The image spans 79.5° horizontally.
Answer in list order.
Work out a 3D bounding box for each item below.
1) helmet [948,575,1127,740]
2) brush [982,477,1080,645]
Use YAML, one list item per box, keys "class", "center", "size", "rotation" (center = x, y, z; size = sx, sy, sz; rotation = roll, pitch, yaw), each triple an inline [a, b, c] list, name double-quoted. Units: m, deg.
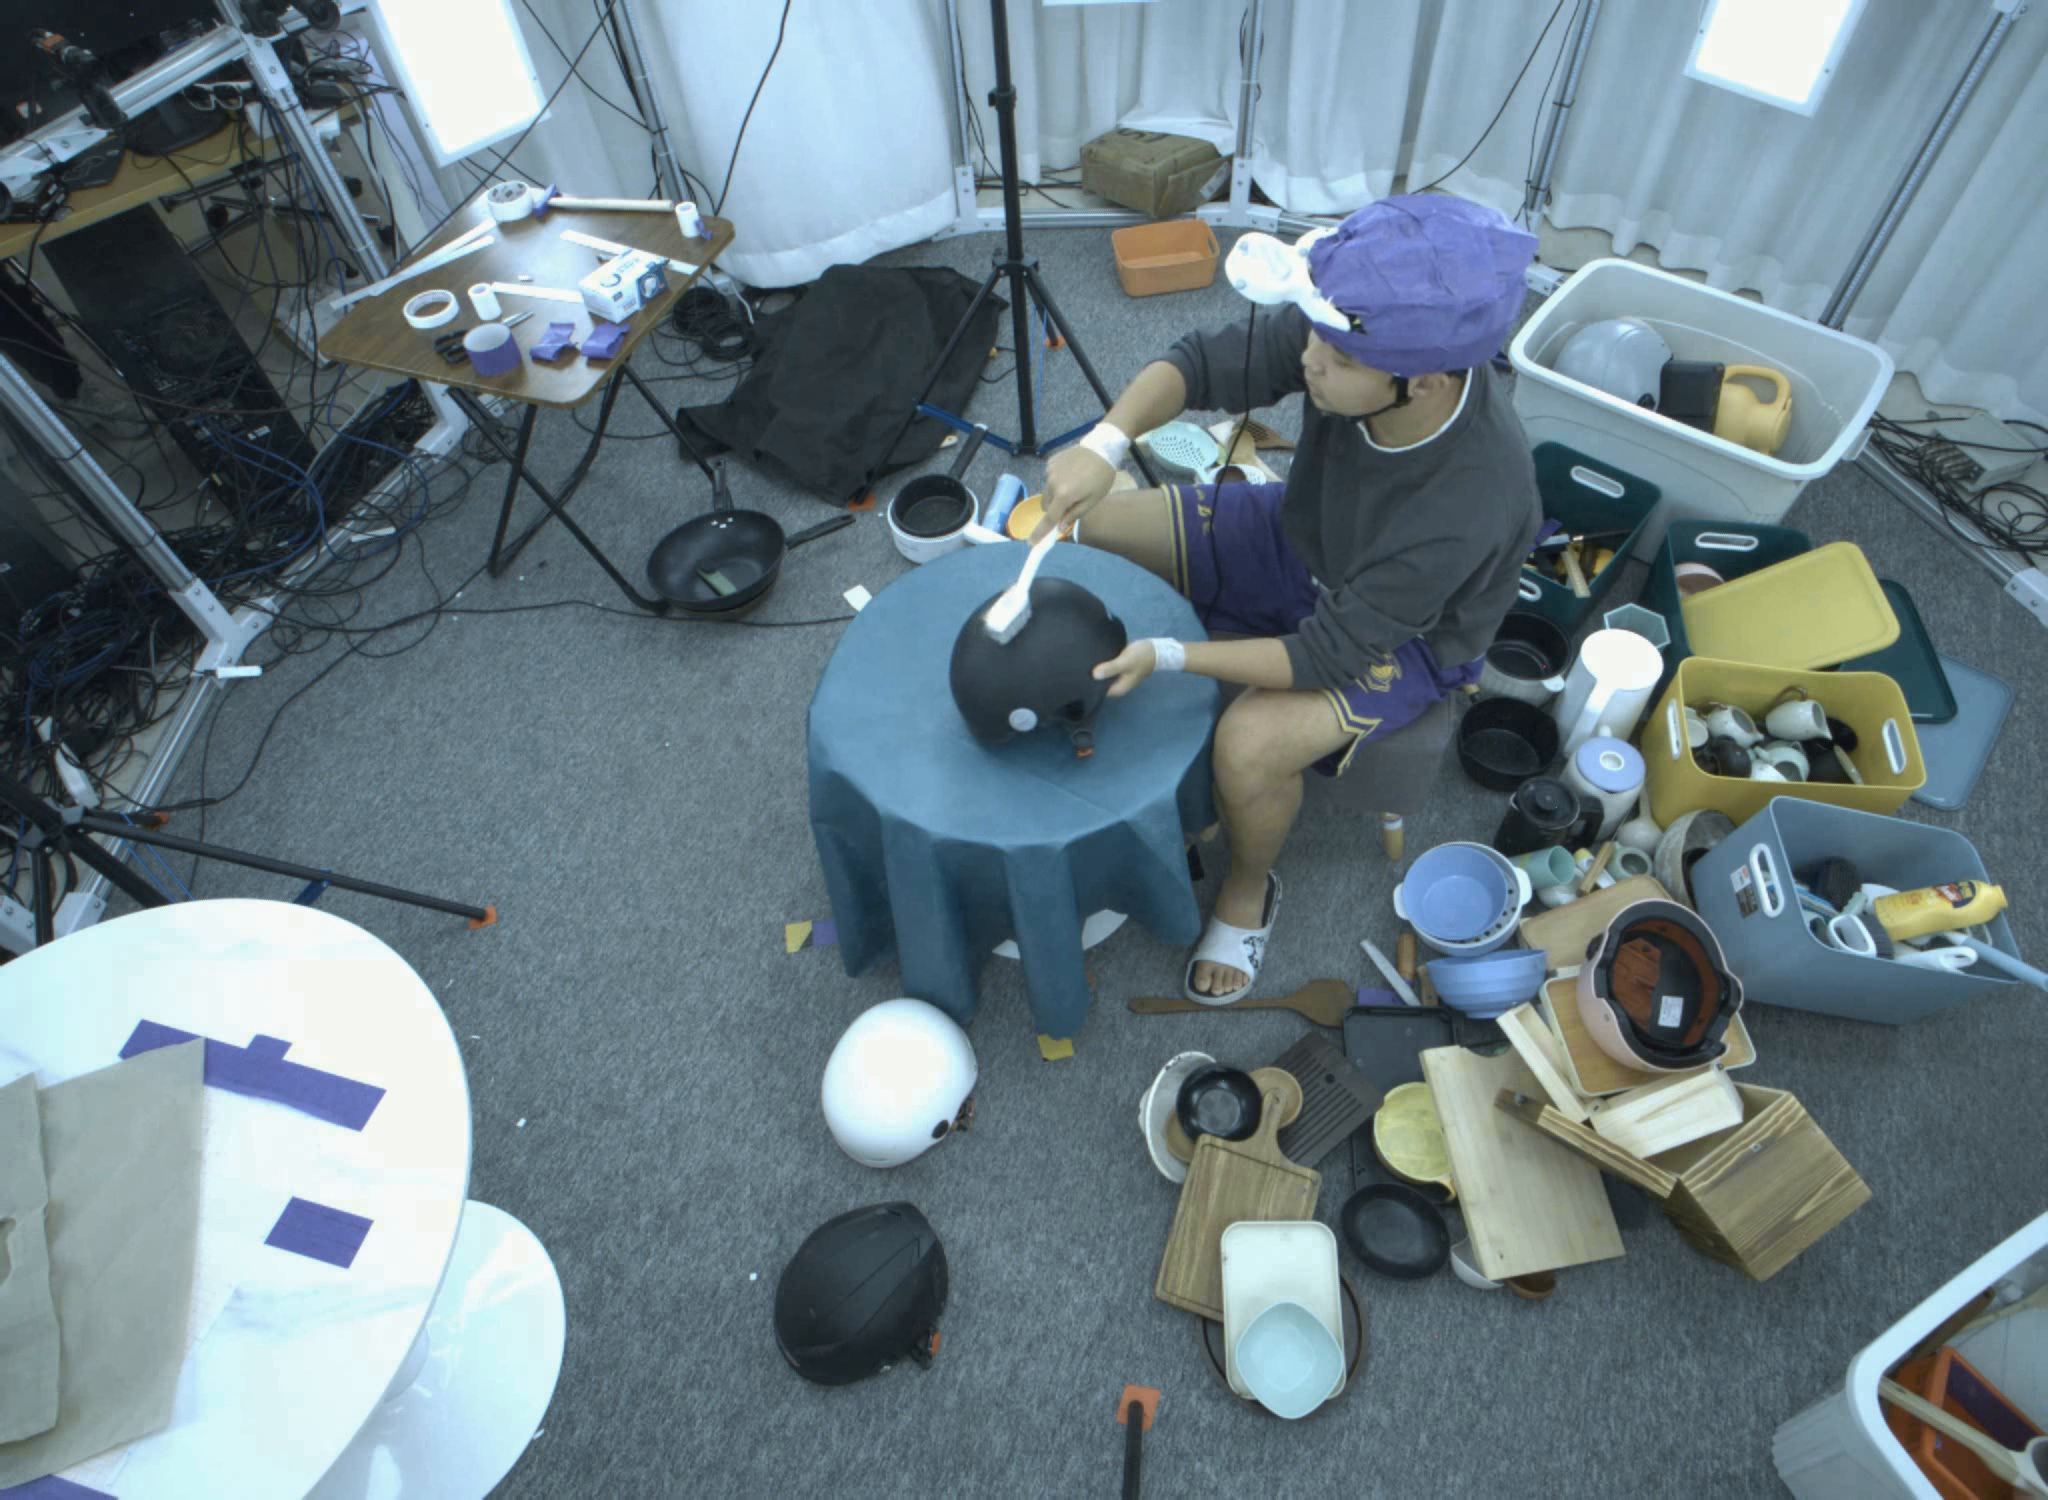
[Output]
- class: "helmet"
  center: [0.002, -0.148, 1.746]
  size: [0.272, 0.170, 0.227]
  rotation: [-25, 37, 11]
- class: "brush"
  center: [0.017, -0.253, 1.644]
  size: [0.033, 0.051, 0.243]
  rotation: [29, 89, 33]
